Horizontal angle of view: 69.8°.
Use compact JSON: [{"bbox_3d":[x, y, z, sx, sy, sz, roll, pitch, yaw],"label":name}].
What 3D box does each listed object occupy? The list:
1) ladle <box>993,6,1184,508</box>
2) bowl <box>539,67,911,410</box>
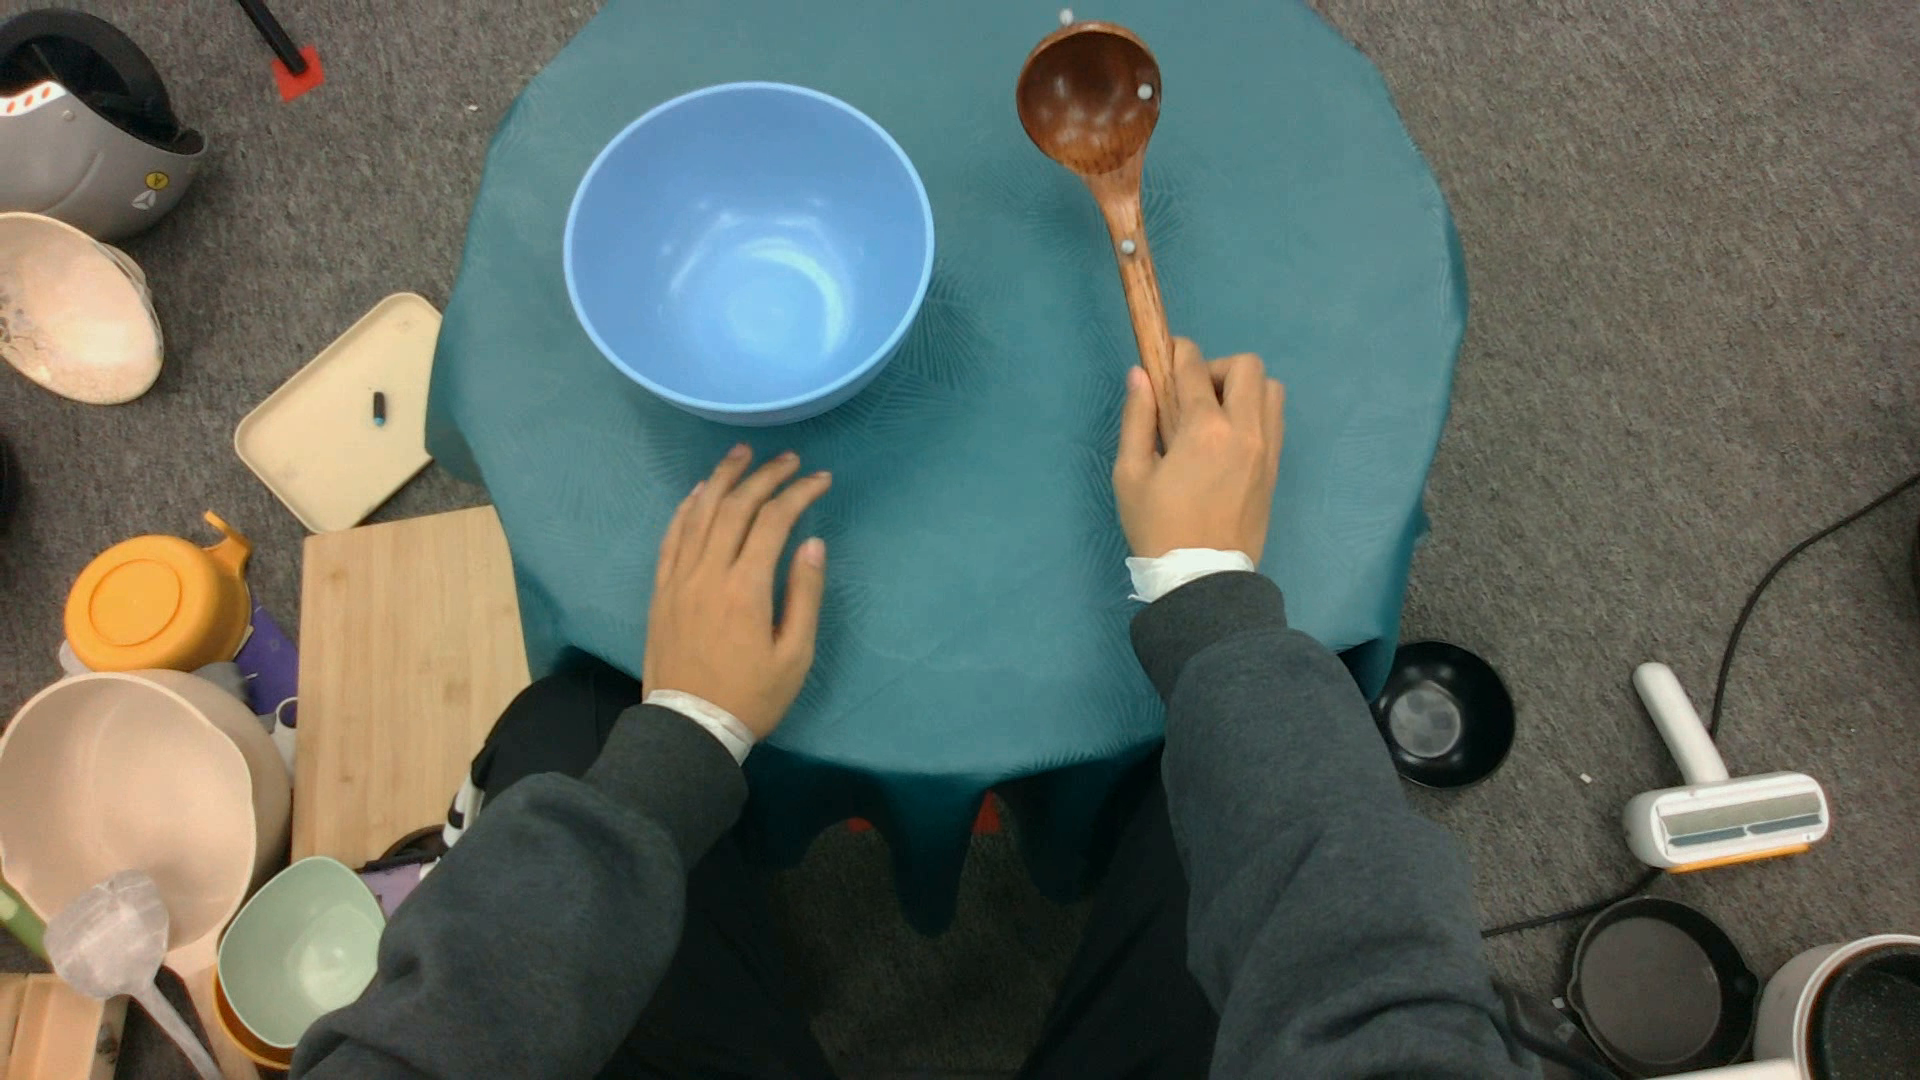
[{"bbox_3d":[0.080,-0.155,0.747,0.082,0.076,0.274,-15,78,19],"label":"ladle"},{"bbox_3d":[-0.125,-0.154,0.773,0.196,0.095,0.197,0,73,-1],"label":"bowl"}]
